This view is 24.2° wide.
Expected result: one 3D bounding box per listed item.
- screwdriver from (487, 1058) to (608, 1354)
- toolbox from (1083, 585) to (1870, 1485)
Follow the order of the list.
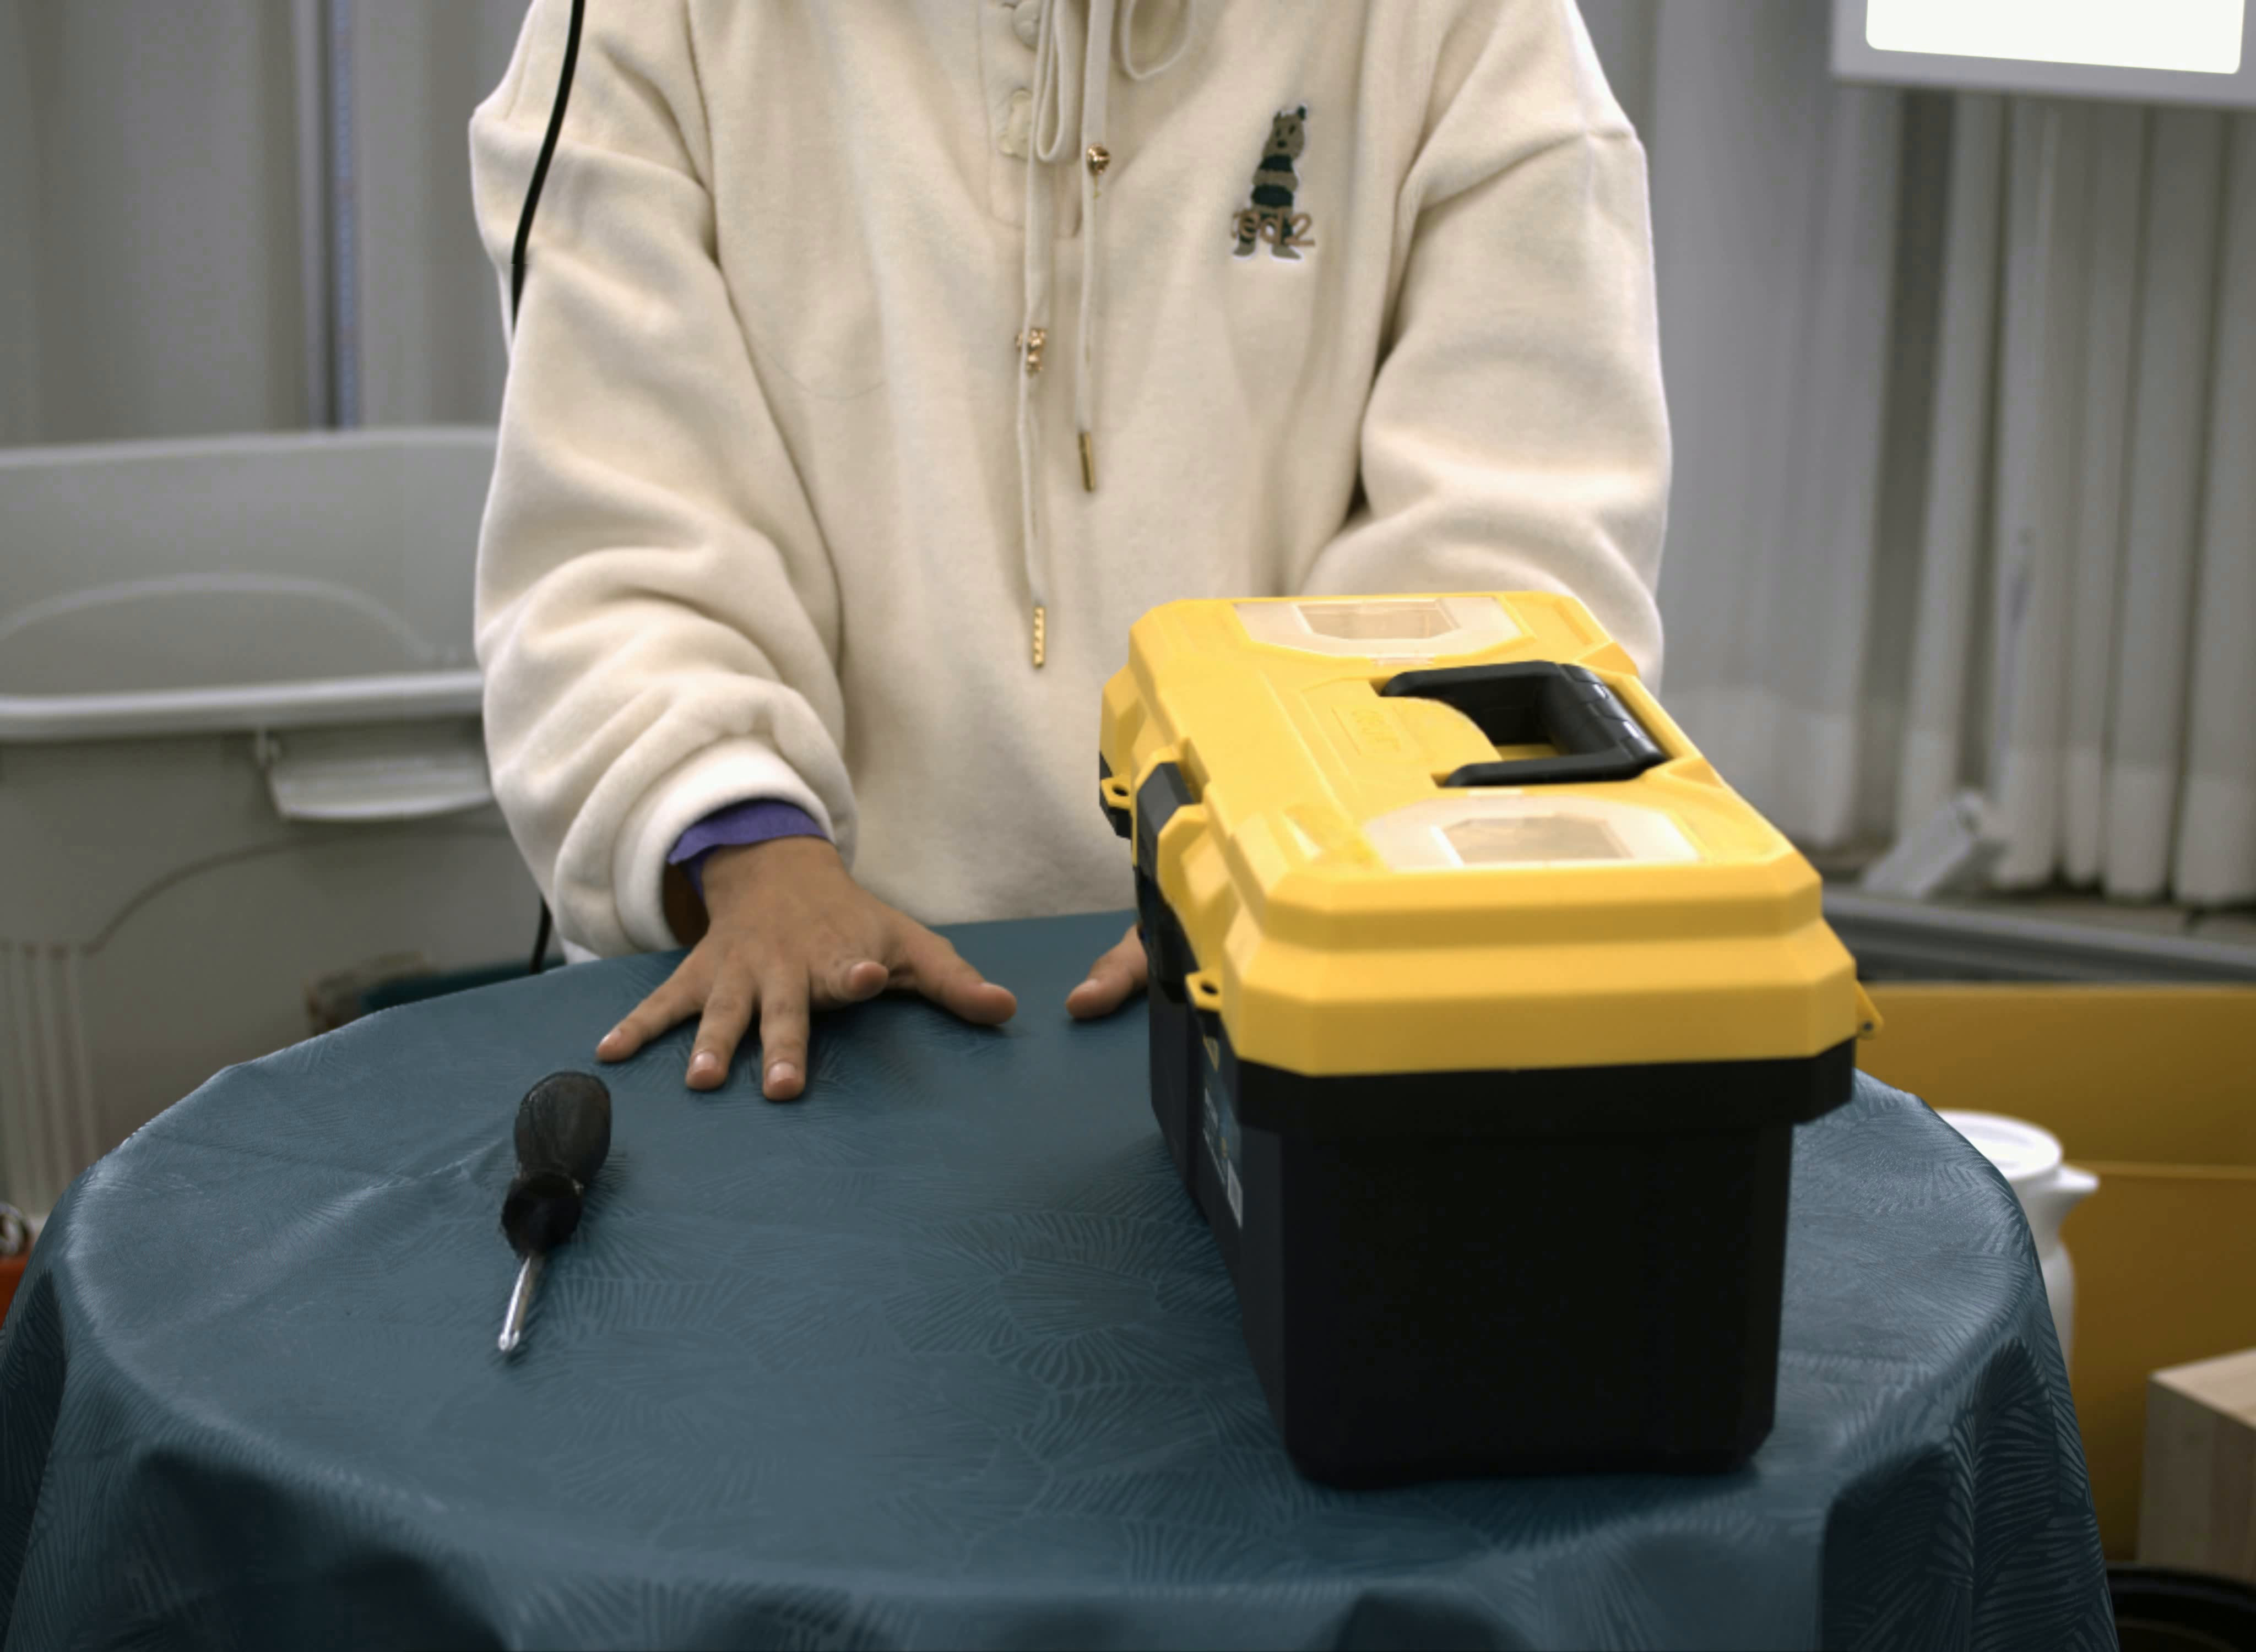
[{"bbox_3d":[-0.177,0.111,1.561,0.031,0.032,0.195,1,17,1],"label":"screwdriver"},{"bbox_3d":[0.091,0.050,1.521,0.181,0.174,0.349,-1,16,-6],"label":"toolbox"}]
